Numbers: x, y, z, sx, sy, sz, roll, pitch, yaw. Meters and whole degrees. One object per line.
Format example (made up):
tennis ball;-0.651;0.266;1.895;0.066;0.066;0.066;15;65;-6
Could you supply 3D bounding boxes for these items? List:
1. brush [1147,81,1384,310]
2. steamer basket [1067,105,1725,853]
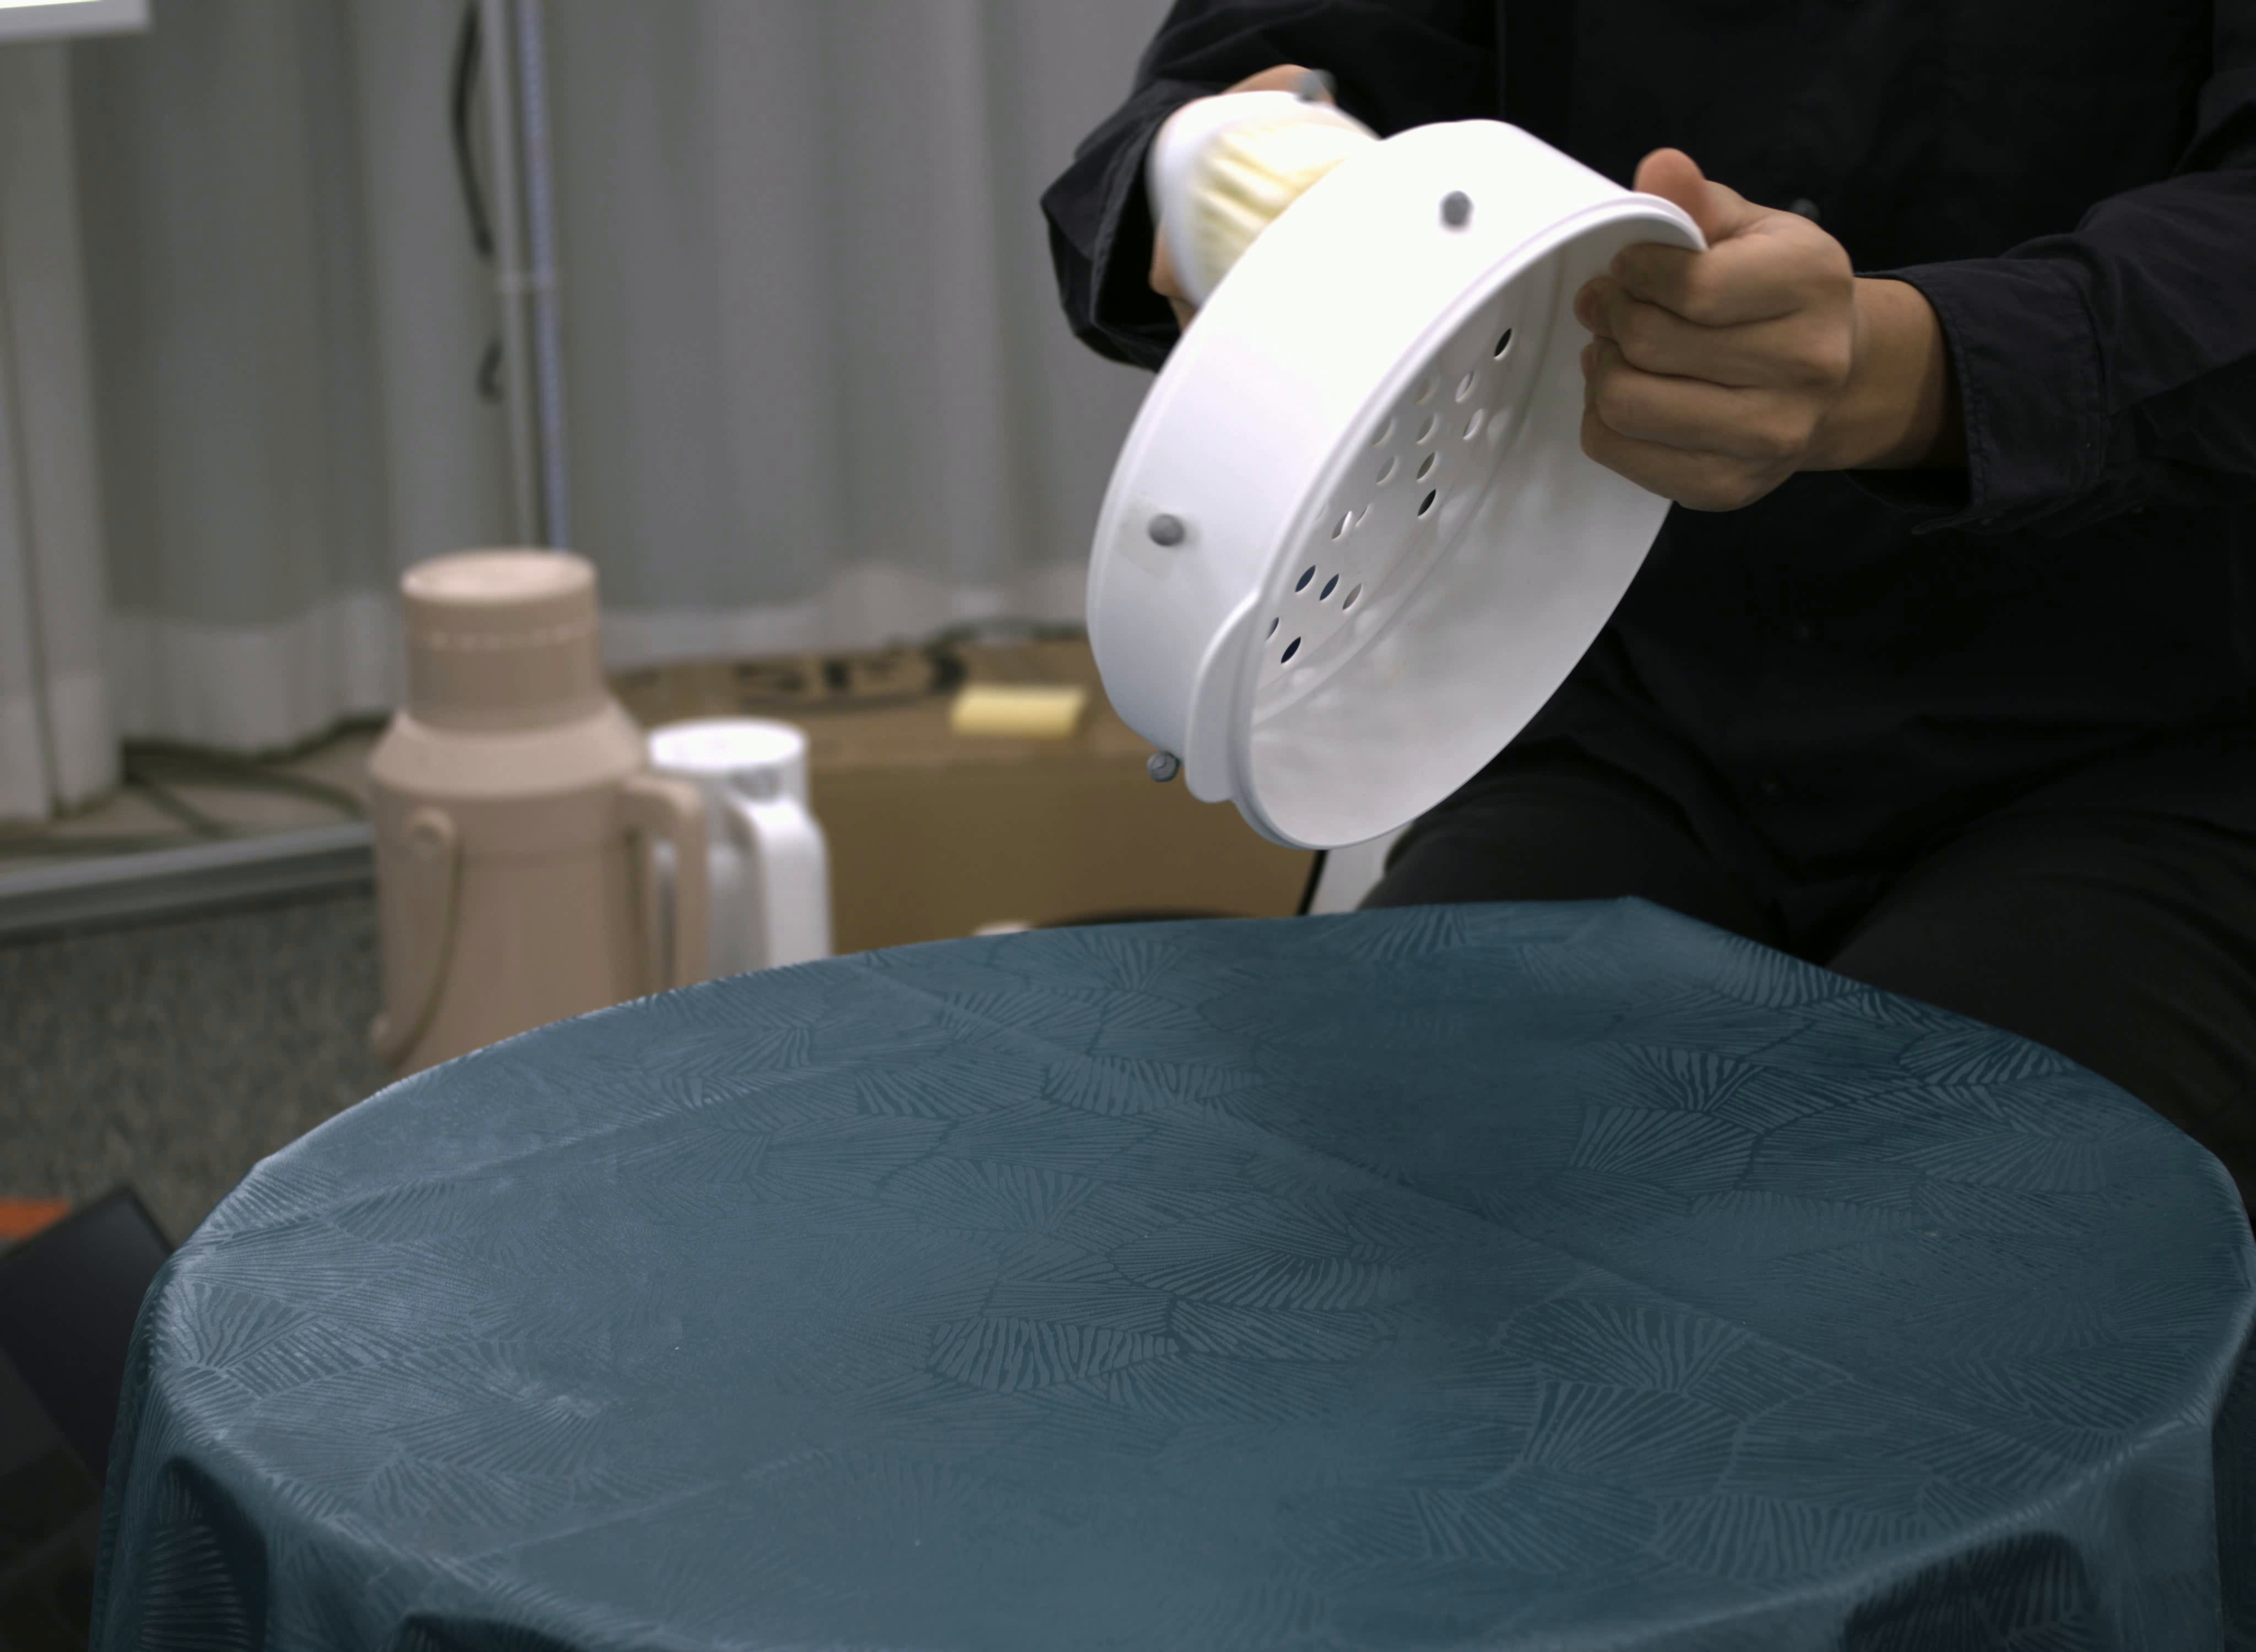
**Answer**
brush;0.071;-0.160;1.540;0.083;0.085;0.322;-22;-6;9
steamer basket;0.068;-0.093;1.429;0.070;0.201;0.227;35;51;26
